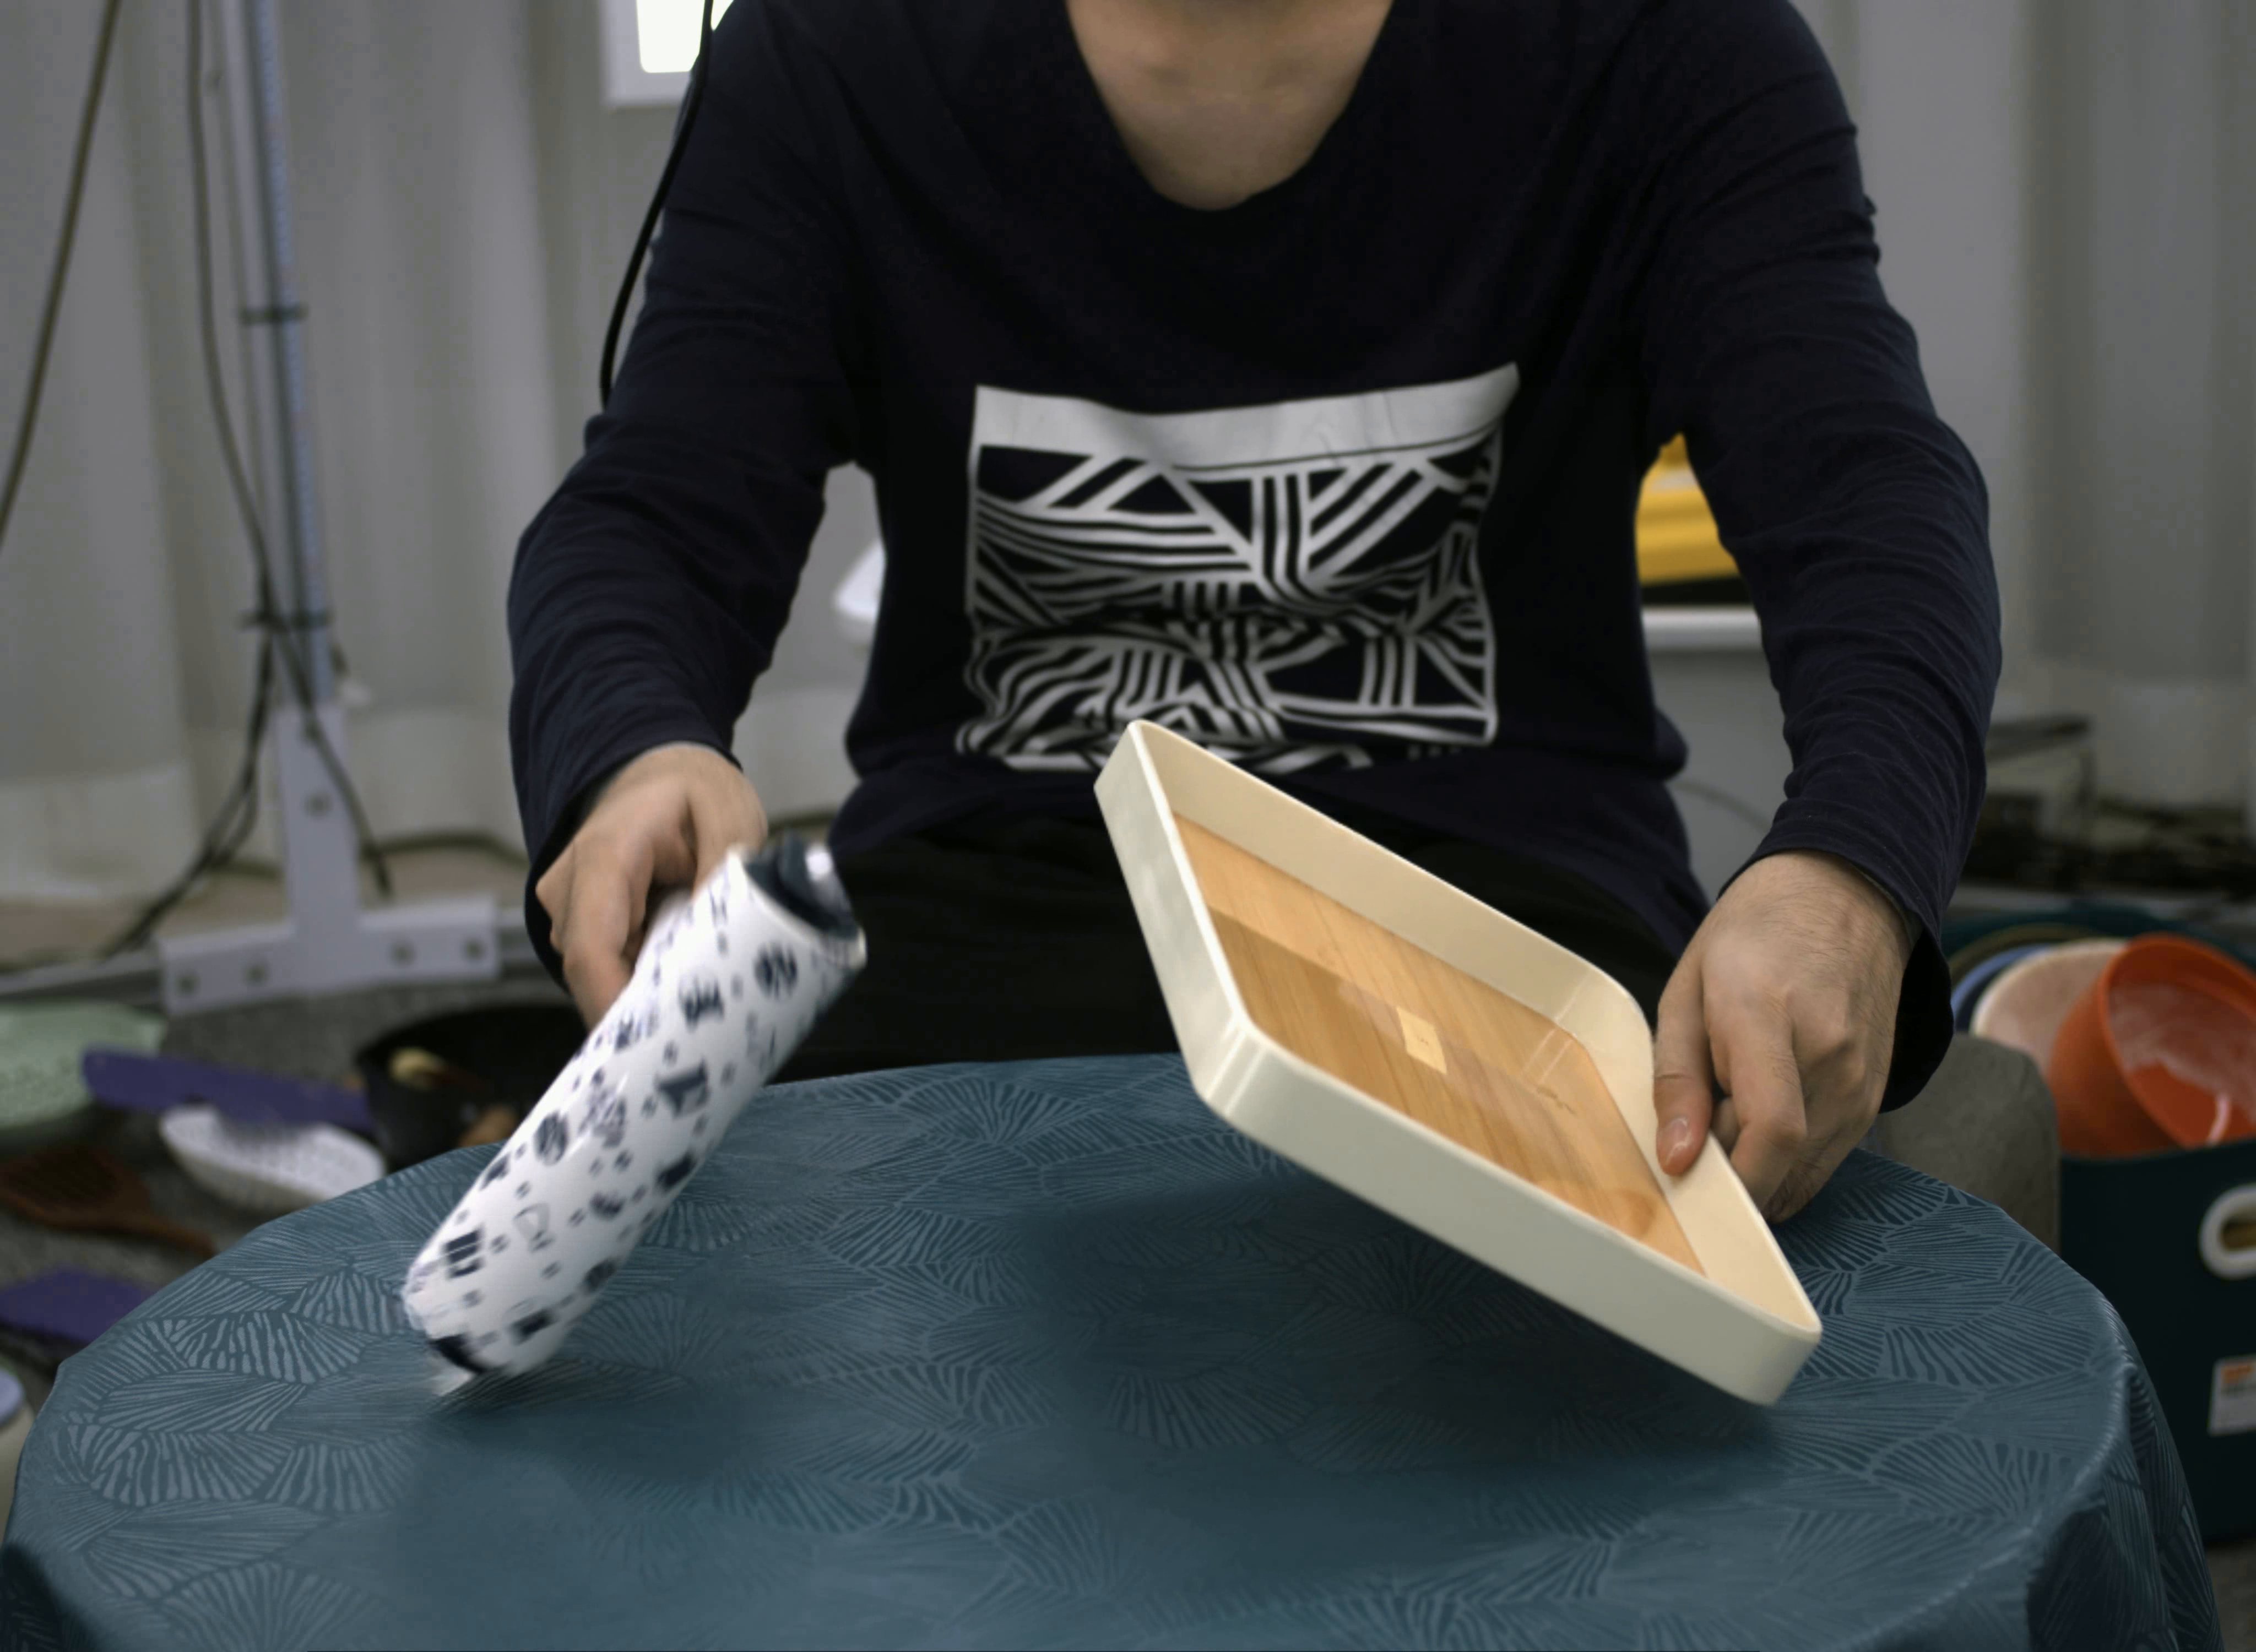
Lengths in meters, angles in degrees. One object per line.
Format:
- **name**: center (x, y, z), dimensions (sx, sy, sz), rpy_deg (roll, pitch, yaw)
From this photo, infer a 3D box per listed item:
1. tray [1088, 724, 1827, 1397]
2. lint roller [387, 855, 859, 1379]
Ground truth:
- **tray**: center (0.088, 0.062, 1.588), dimensions (0.190, 0.027, 0.303), rpy_deg (26, 13, -13)
- **lint roller**: center (-0.142, 0.060, 1.648), dimensions (0.050, 0.176, 0.249), rpy_deg (40, 12, -9)
